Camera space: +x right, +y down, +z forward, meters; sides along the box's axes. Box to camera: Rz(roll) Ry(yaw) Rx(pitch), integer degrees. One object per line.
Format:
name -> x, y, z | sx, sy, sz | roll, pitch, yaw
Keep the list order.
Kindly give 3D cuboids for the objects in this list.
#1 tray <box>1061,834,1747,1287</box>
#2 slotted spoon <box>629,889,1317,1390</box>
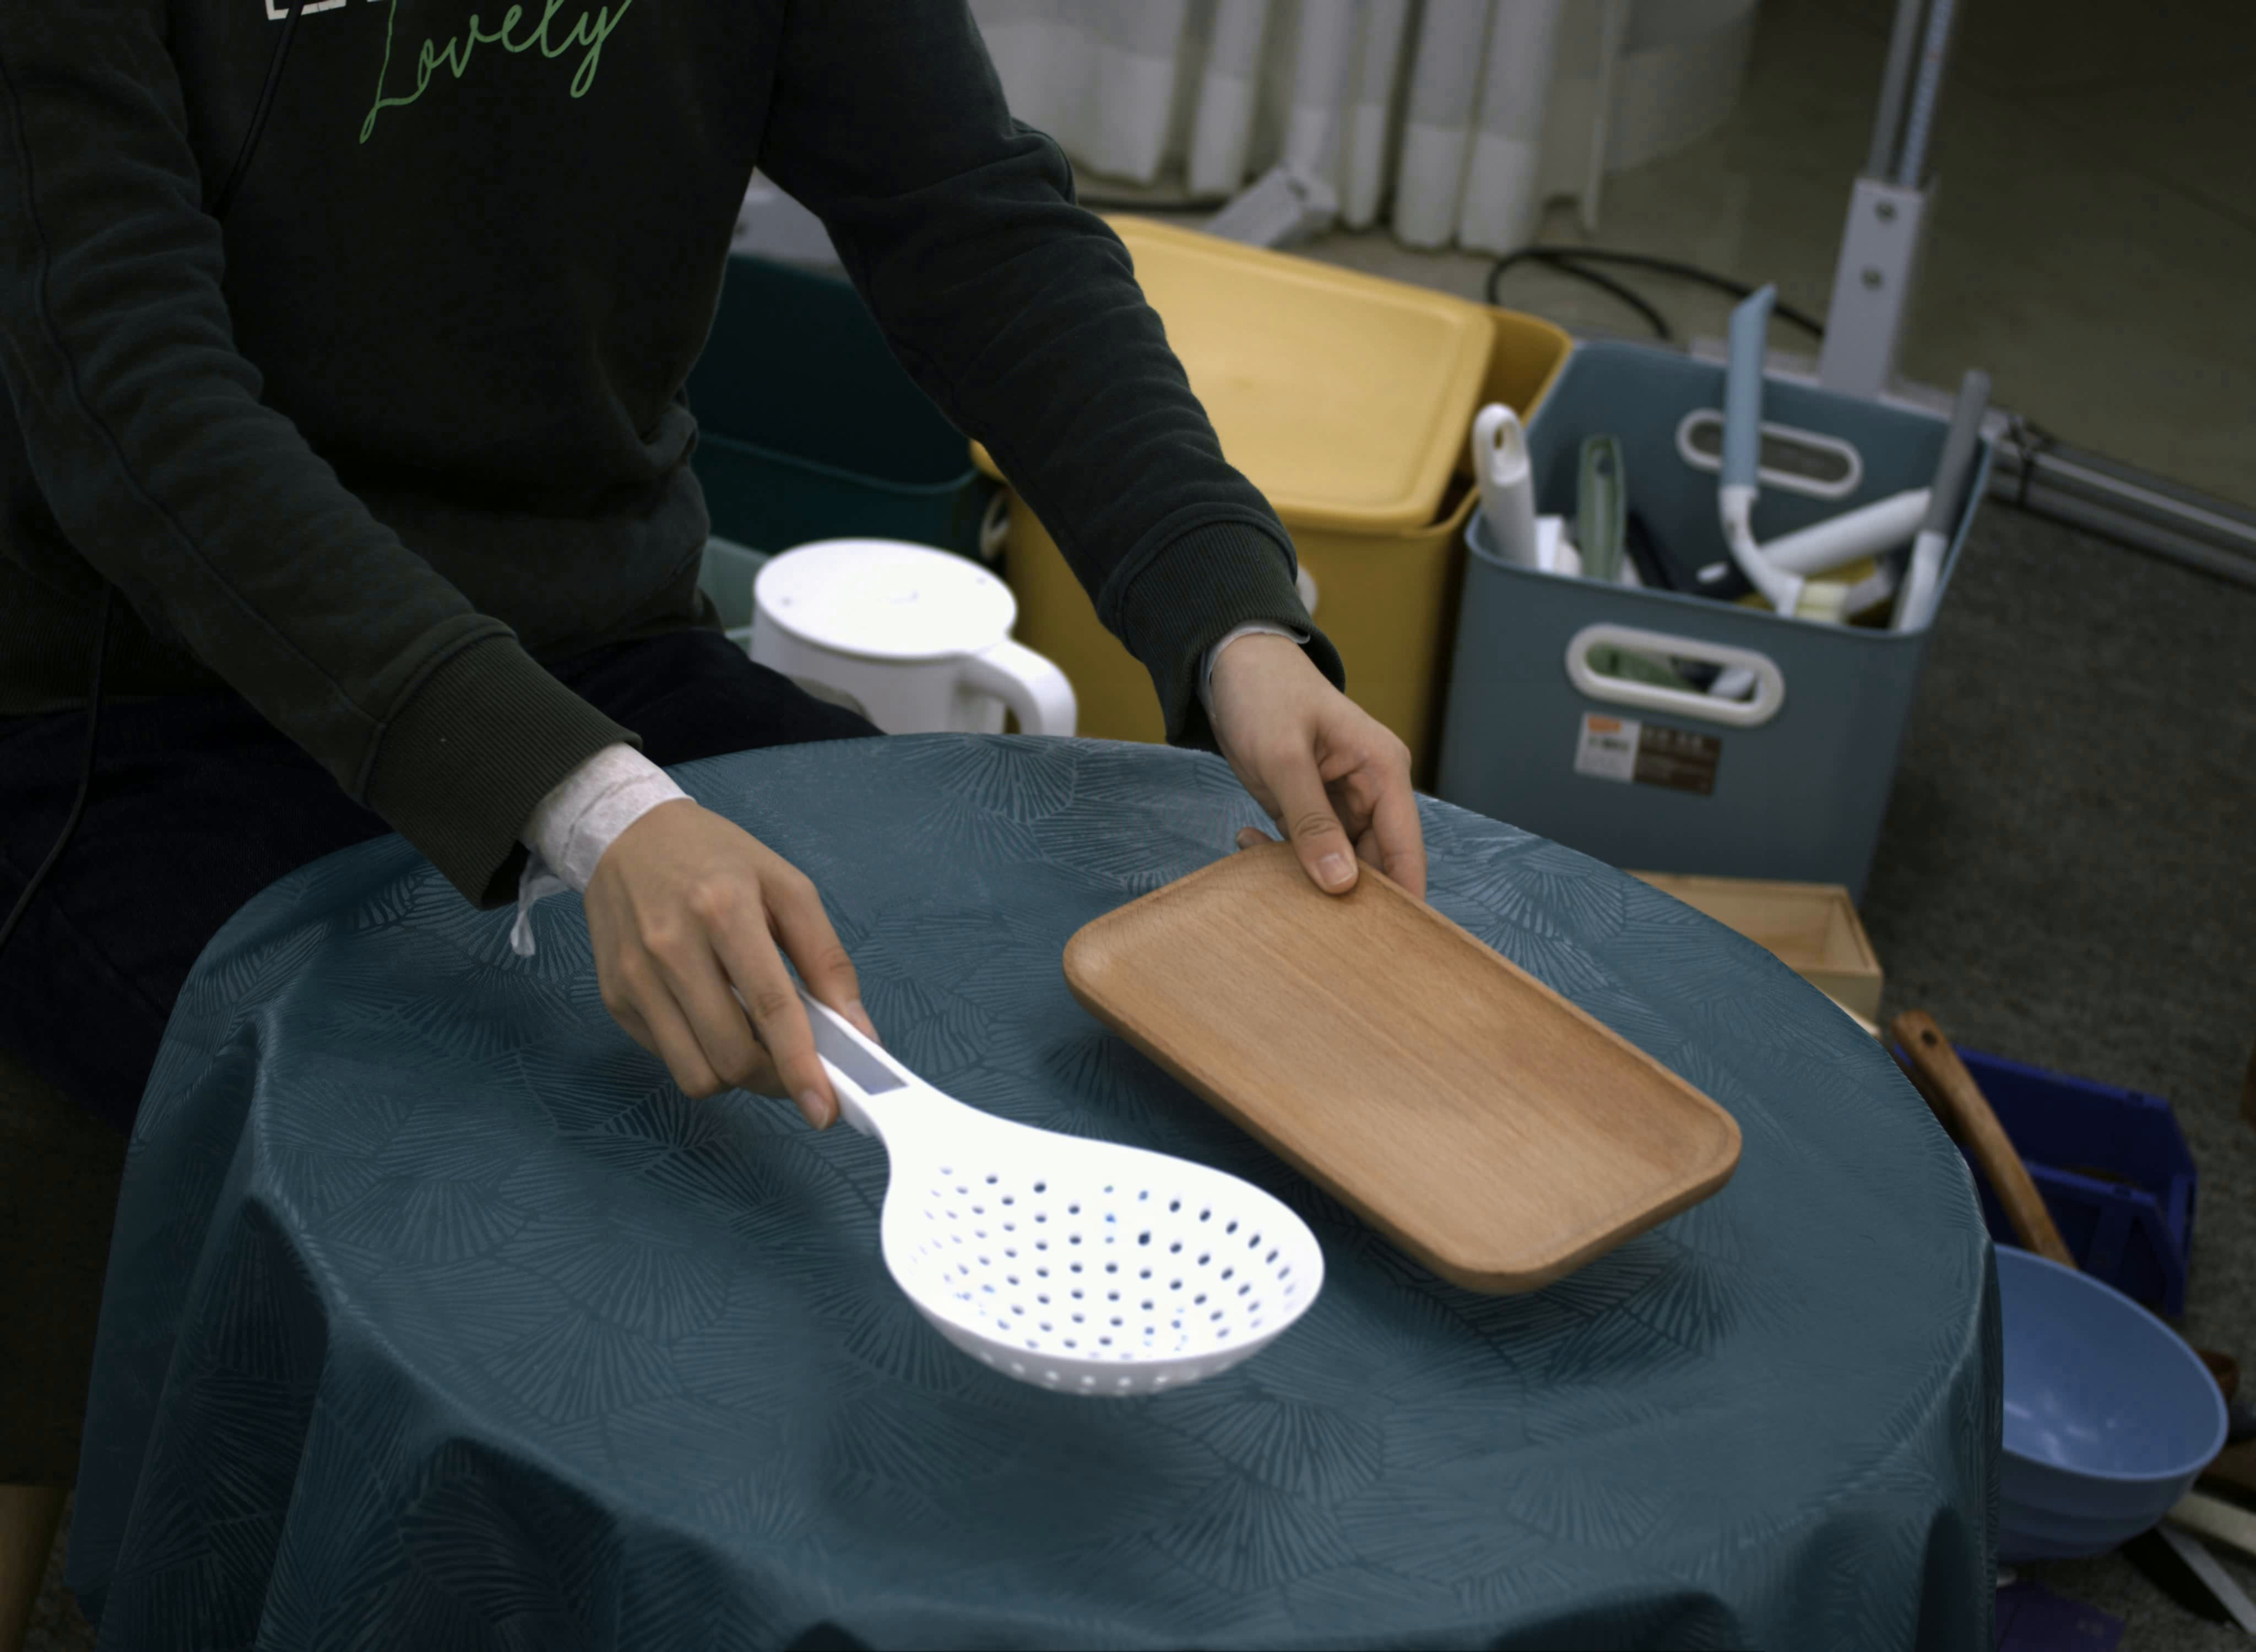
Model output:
tray -> 0.091, 0.078, 1.828 | 0.130, 0.023, 0.253 | -22, 37, -30
slotted spoon -> -0.069, 0.095, 1.717 | 0.135, 0.045, 0.353 | -11, 32, -32
